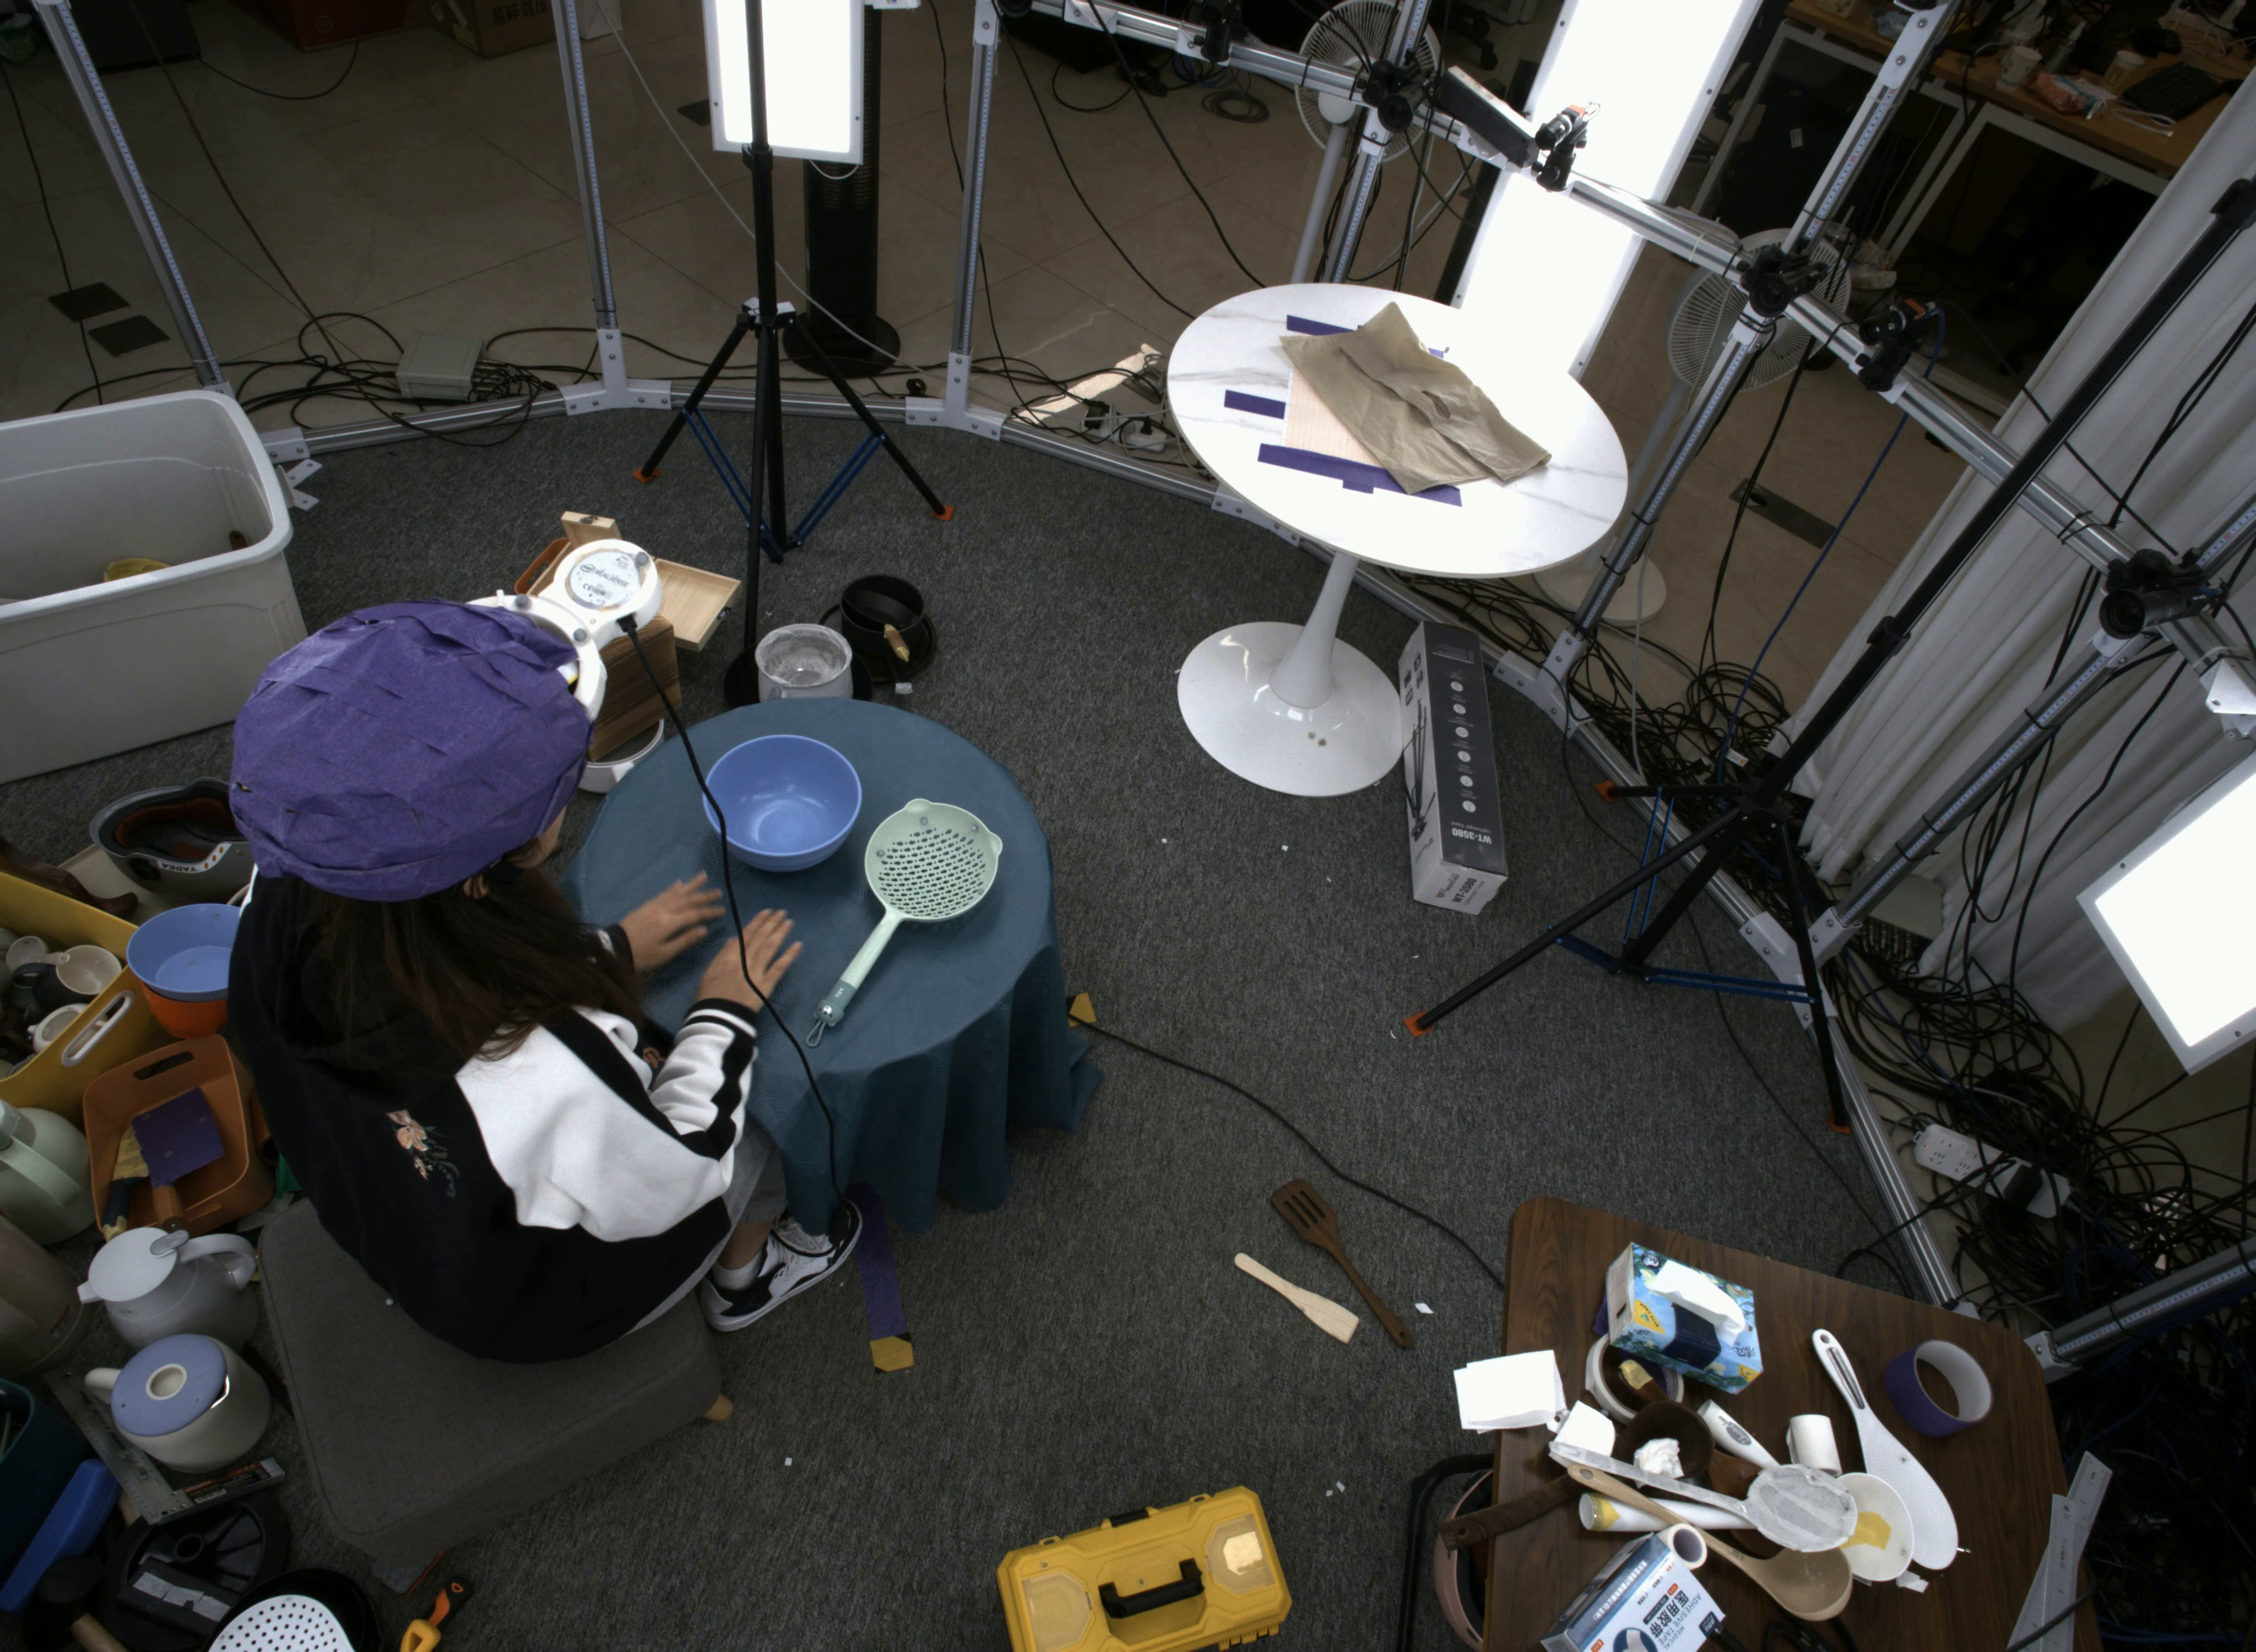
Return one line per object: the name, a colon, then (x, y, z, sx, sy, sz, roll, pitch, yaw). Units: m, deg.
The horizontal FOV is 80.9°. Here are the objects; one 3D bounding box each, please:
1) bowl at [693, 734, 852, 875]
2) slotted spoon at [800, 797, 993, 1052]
bowl: (-0.453, -0.013, 1.660, 0.196, 0.097, 0.193, 8, 52, -9)
slotted spoon: (-0.305, 0.121, 1.622, 0.167, 0.077, 0.357, 26, 53, 7)
